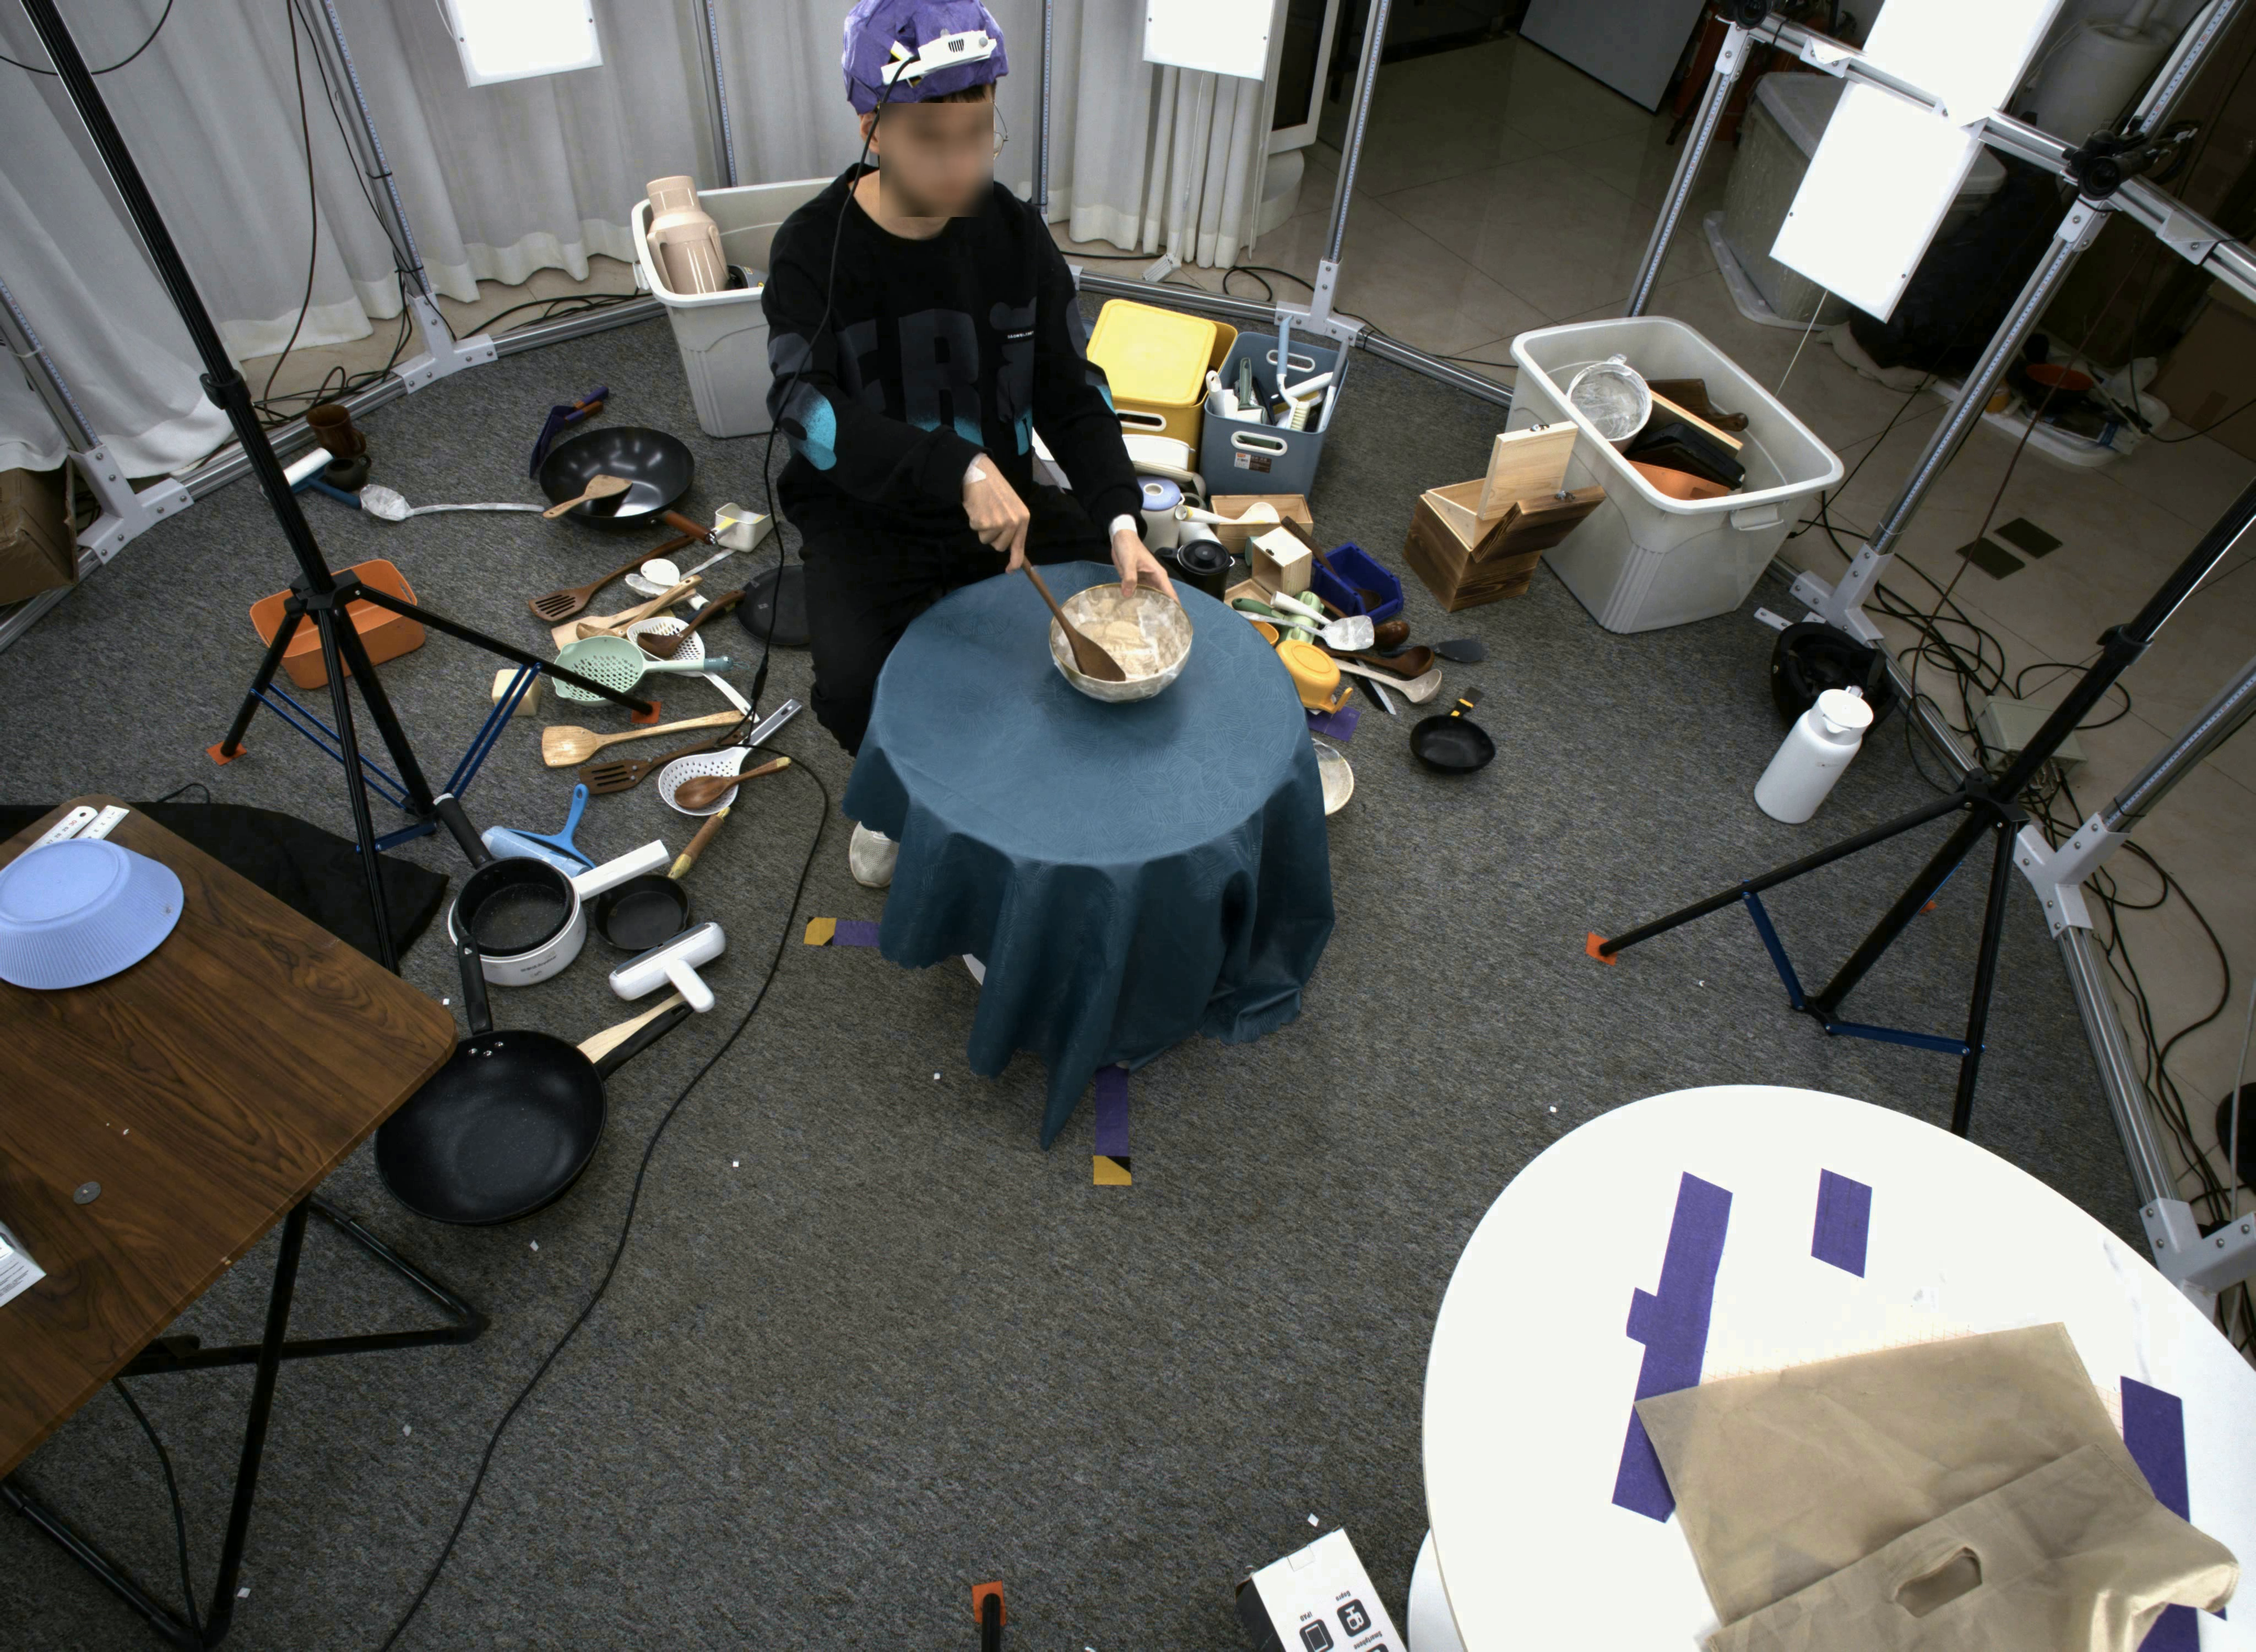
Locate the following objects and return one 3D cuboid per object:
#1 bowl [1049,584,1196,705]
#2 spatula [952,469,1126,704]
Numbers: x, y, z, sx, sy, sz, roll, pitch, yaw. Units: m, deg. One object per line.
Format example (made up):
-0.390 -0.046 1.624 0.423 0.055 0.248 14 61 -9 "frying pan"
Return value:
-0.006 -0.245 1.836 0.214 0.092 0.220 -2 50 2 "bowl"
-0.121 -0.331 1.783 0.381 0.015 0.098 54 30 -15 "spatula"
